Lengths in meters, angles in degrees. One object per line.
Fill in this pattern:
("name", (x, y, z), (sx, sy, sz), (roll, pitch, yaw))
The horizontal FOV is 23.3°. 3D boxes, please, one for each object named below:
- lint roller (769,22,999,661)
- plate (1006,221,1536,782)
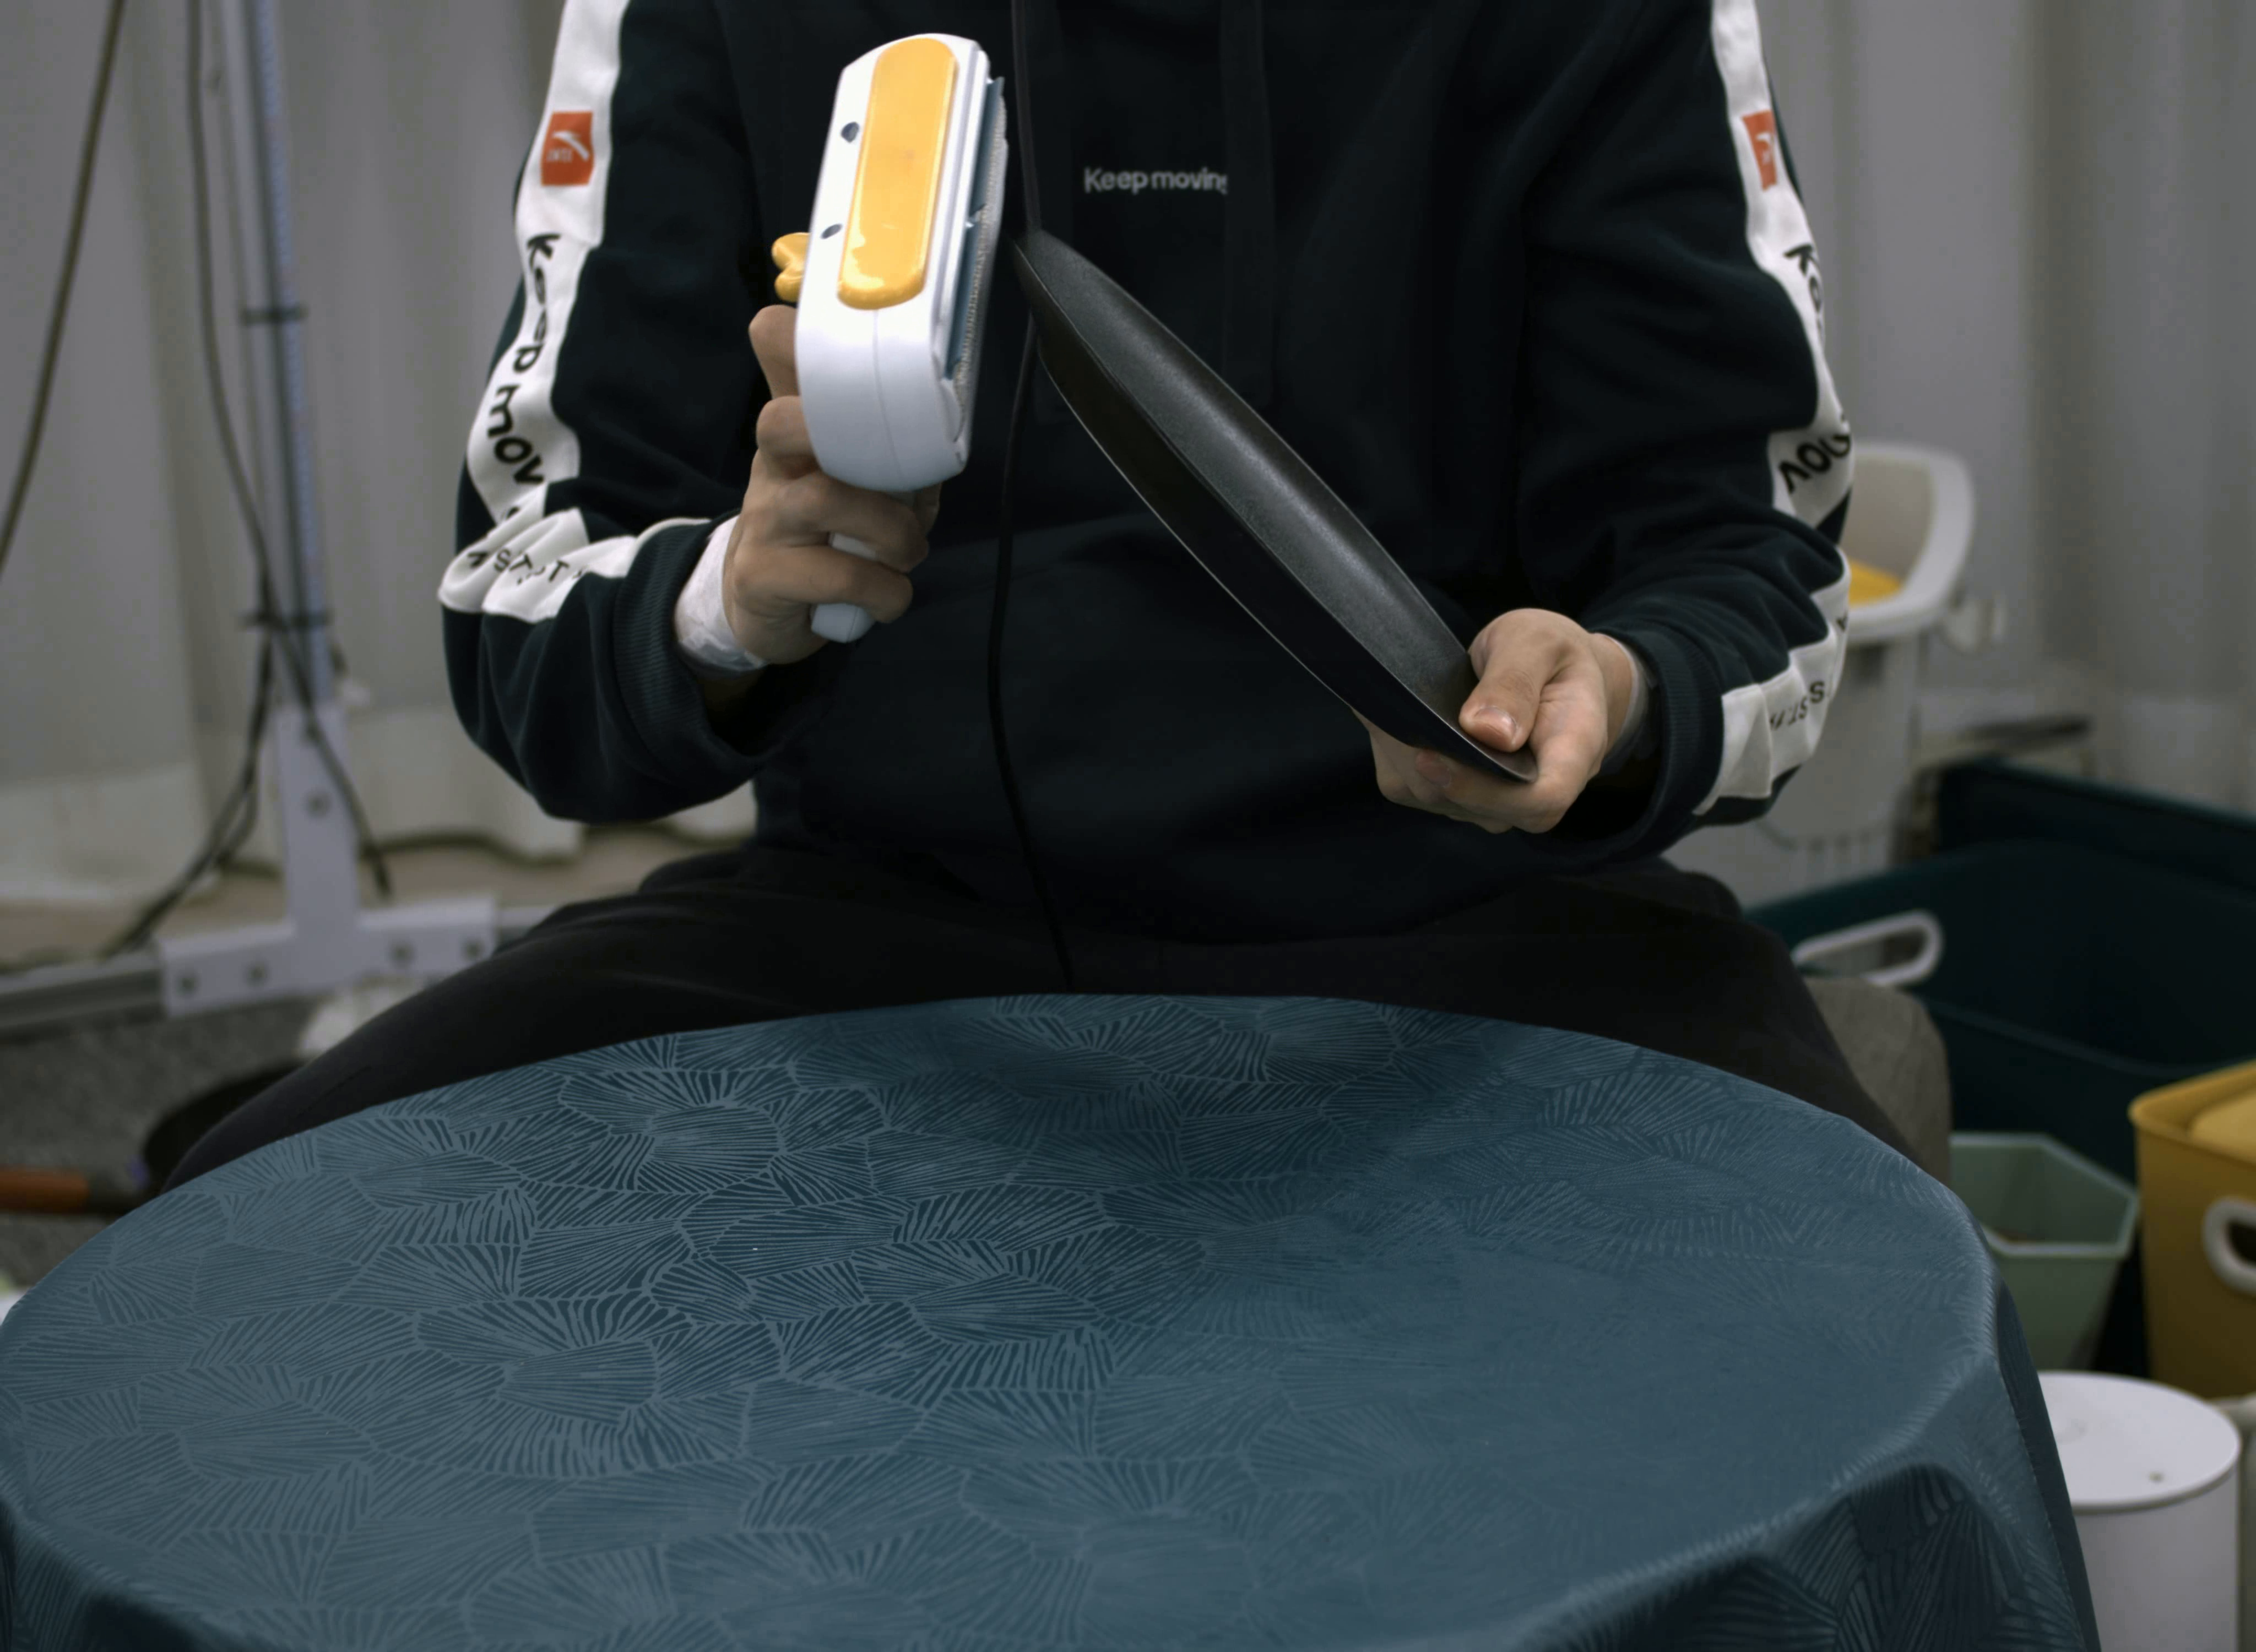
("lint roller", (-0.076, -0.138, 1.777), (0.074, 0.190, 0.195), (-3, 36, 1))
("plate", (0.040, -0.098, 1.753), (0.023, 0.243, 0.246), (-43, 11, 10))
